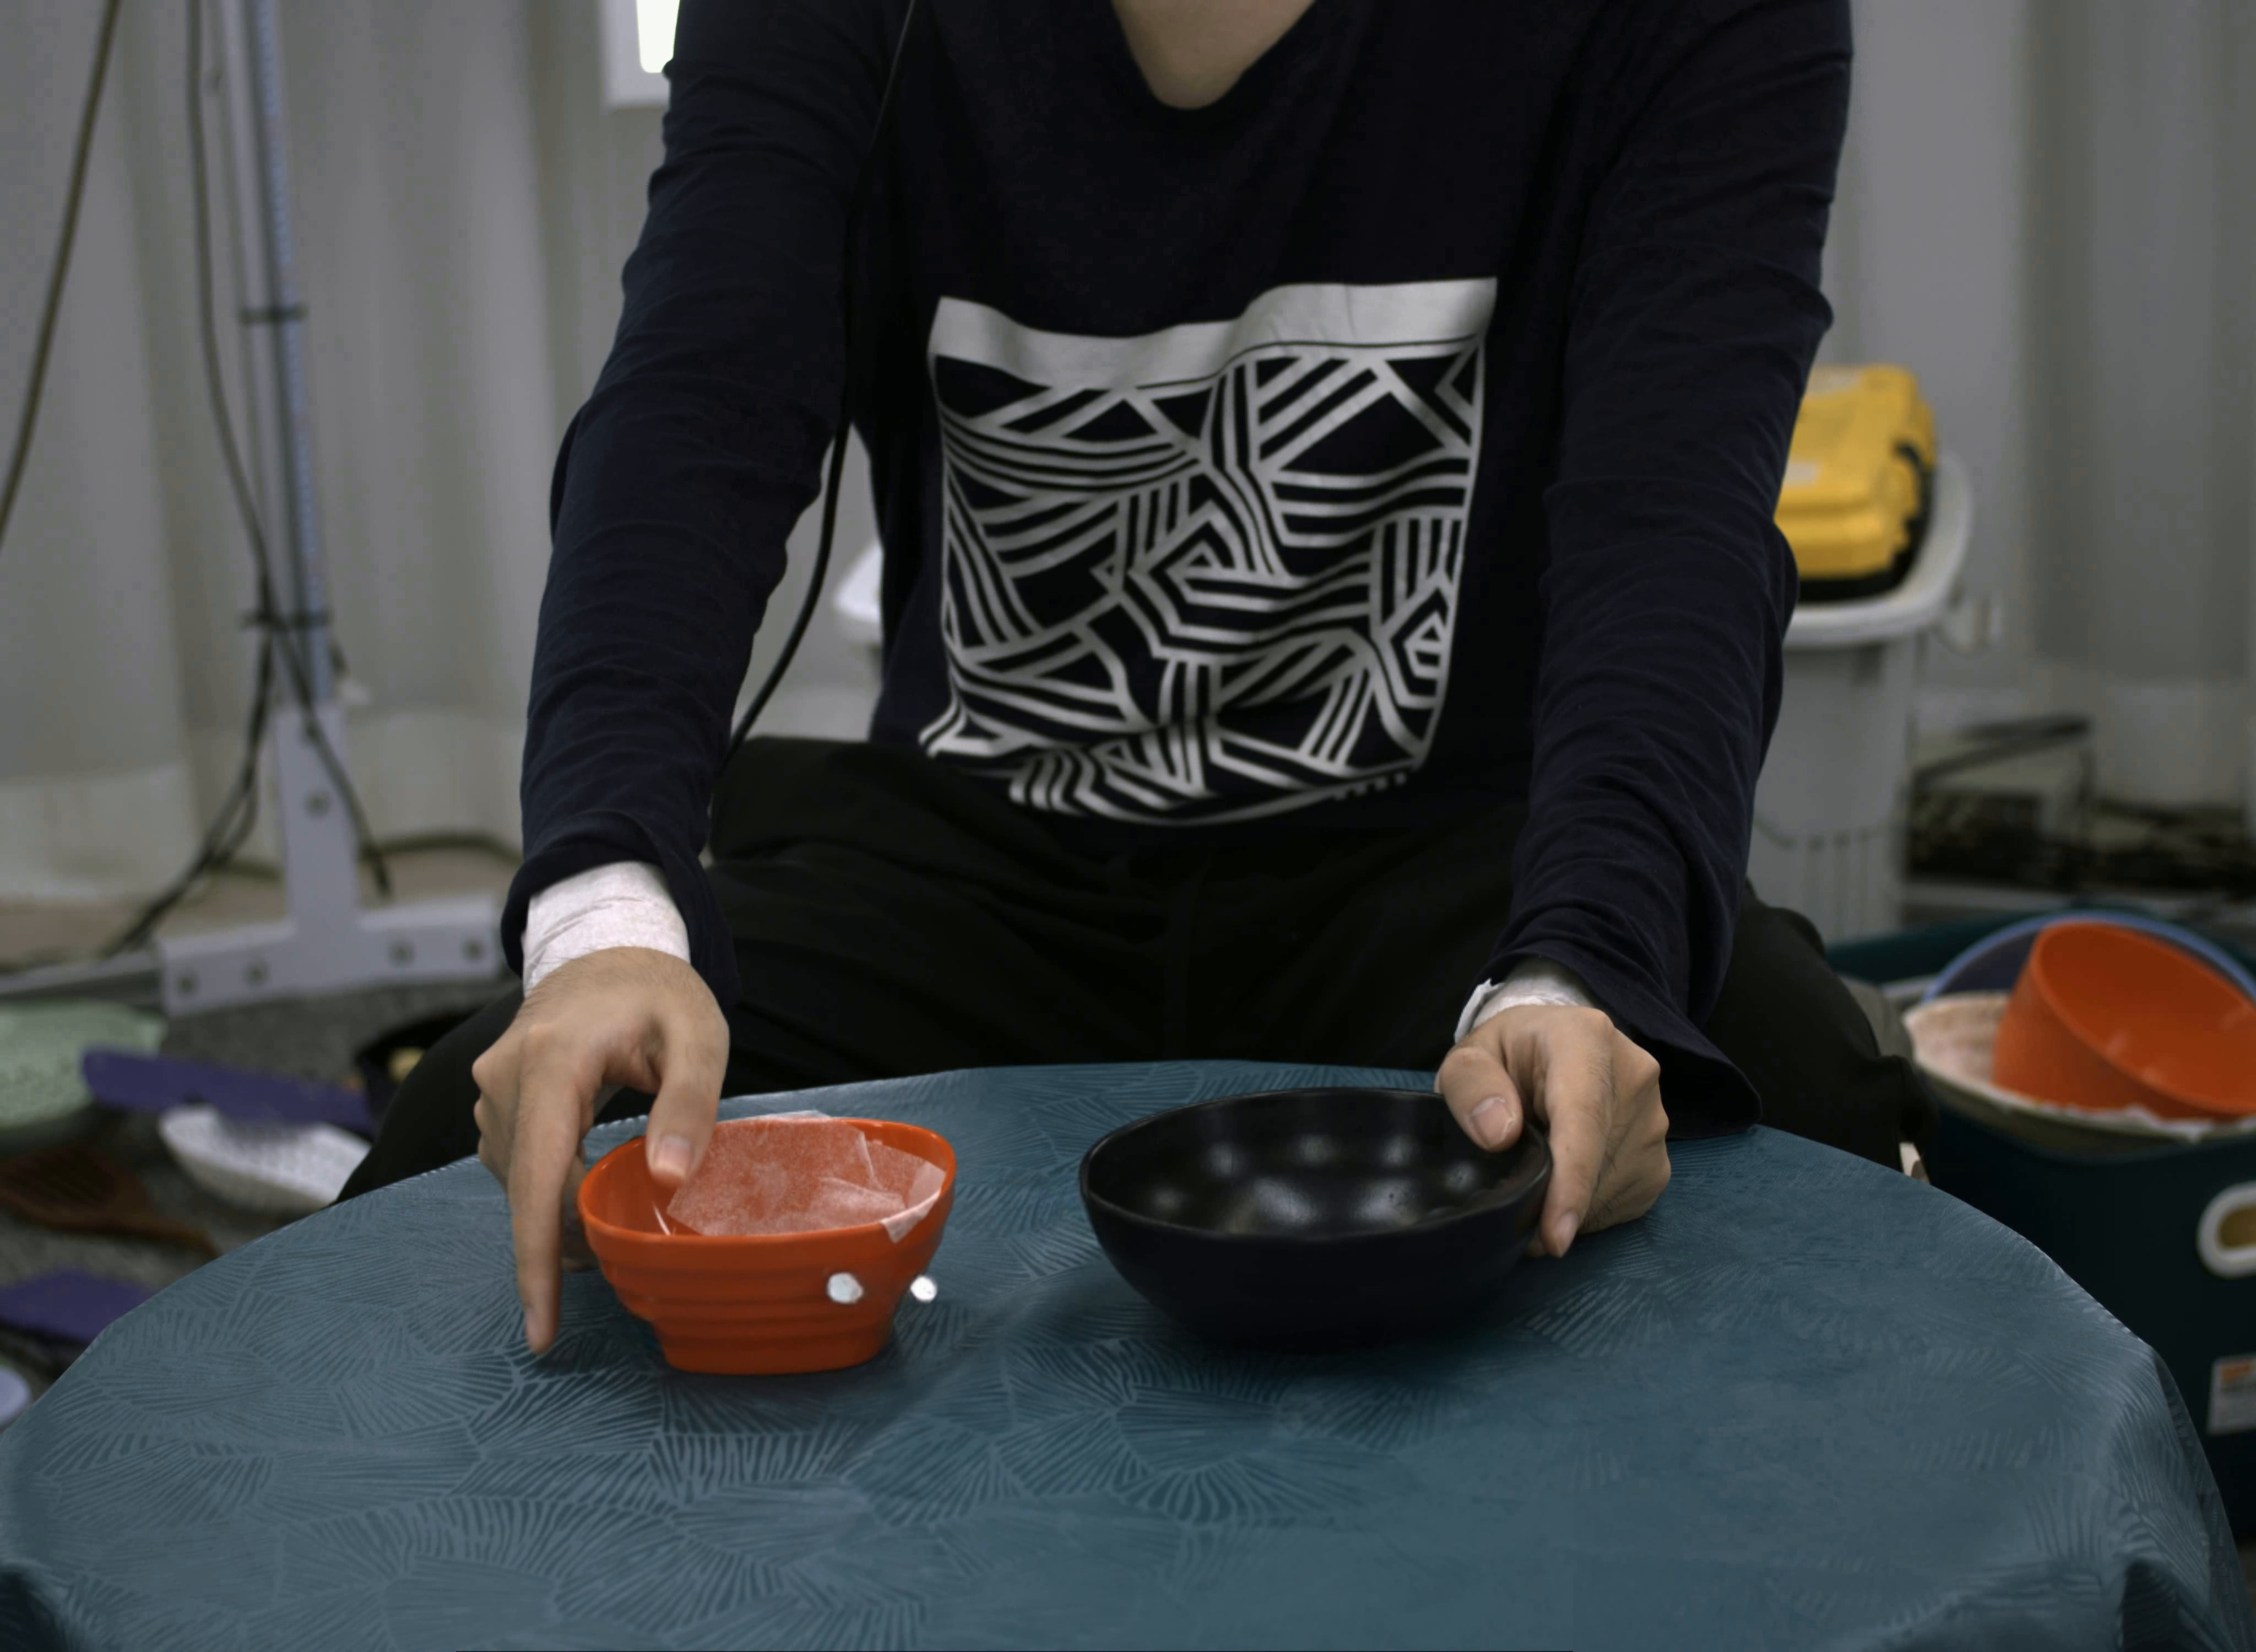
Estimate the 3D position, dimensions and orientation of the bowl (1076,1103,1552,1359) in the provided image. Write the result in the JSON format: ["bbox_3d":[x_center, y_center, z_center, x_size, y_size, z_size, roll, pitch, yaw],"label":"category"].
[{"bbox_3d":[0.055,0.122,1.593,0.139,0.049,0.141,-2,11,0],"label":"bowl"}]

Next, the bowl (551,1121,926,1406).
[{"bbox_3d":[-0.110,0.132,1.609,0.118,0.051,0.120,-8,20,3],"label":"bowl"}]
